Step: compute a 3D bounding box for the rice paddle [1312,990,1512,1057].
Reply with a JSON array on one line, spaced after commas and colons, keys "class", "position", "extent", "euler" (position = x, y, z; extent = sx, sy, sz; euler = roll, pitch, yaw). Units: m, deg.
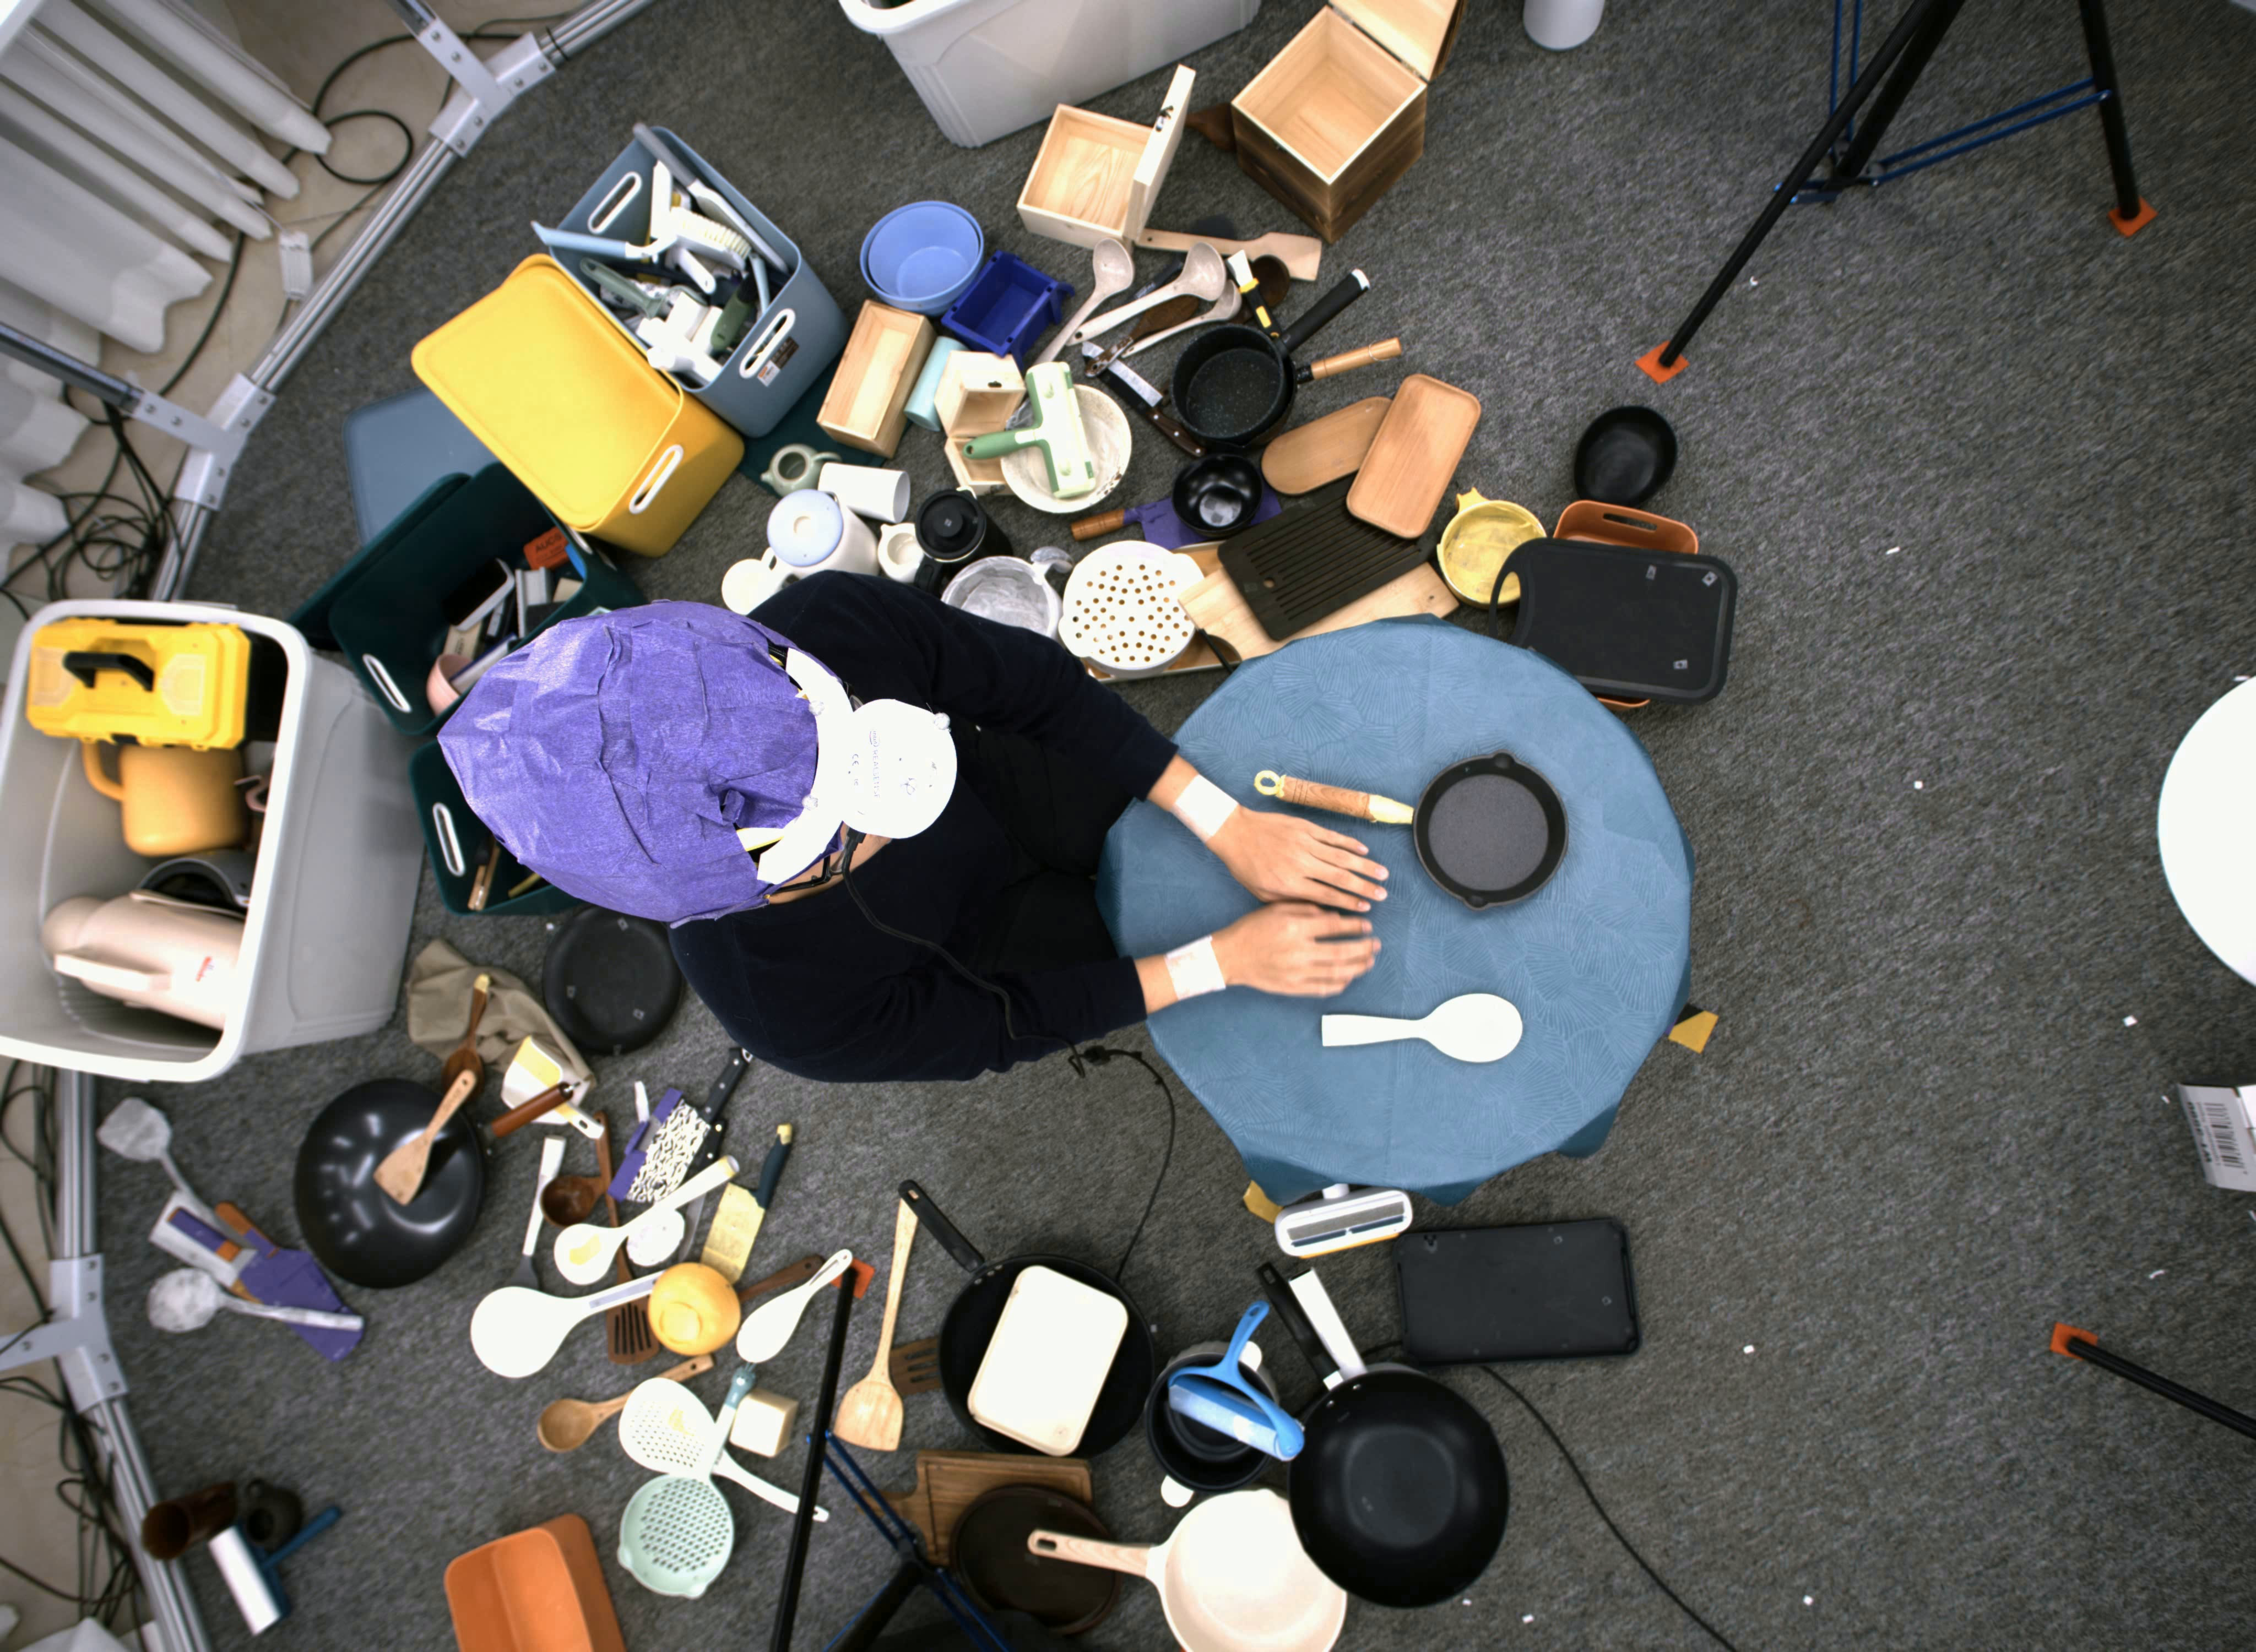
[{"class": "rice paddle", "position": [0.295, 0.205, 1.436], "extent": [0.206, 0.029, 0.068], "euler": [-3, 87, 9]}]

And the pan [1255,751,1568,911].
[{"class": "pan", "position": [0.293, -0.016, 1.435], "extent": [0.324, 0.049, 0.168], "euler": [13, 89, 9]}]
